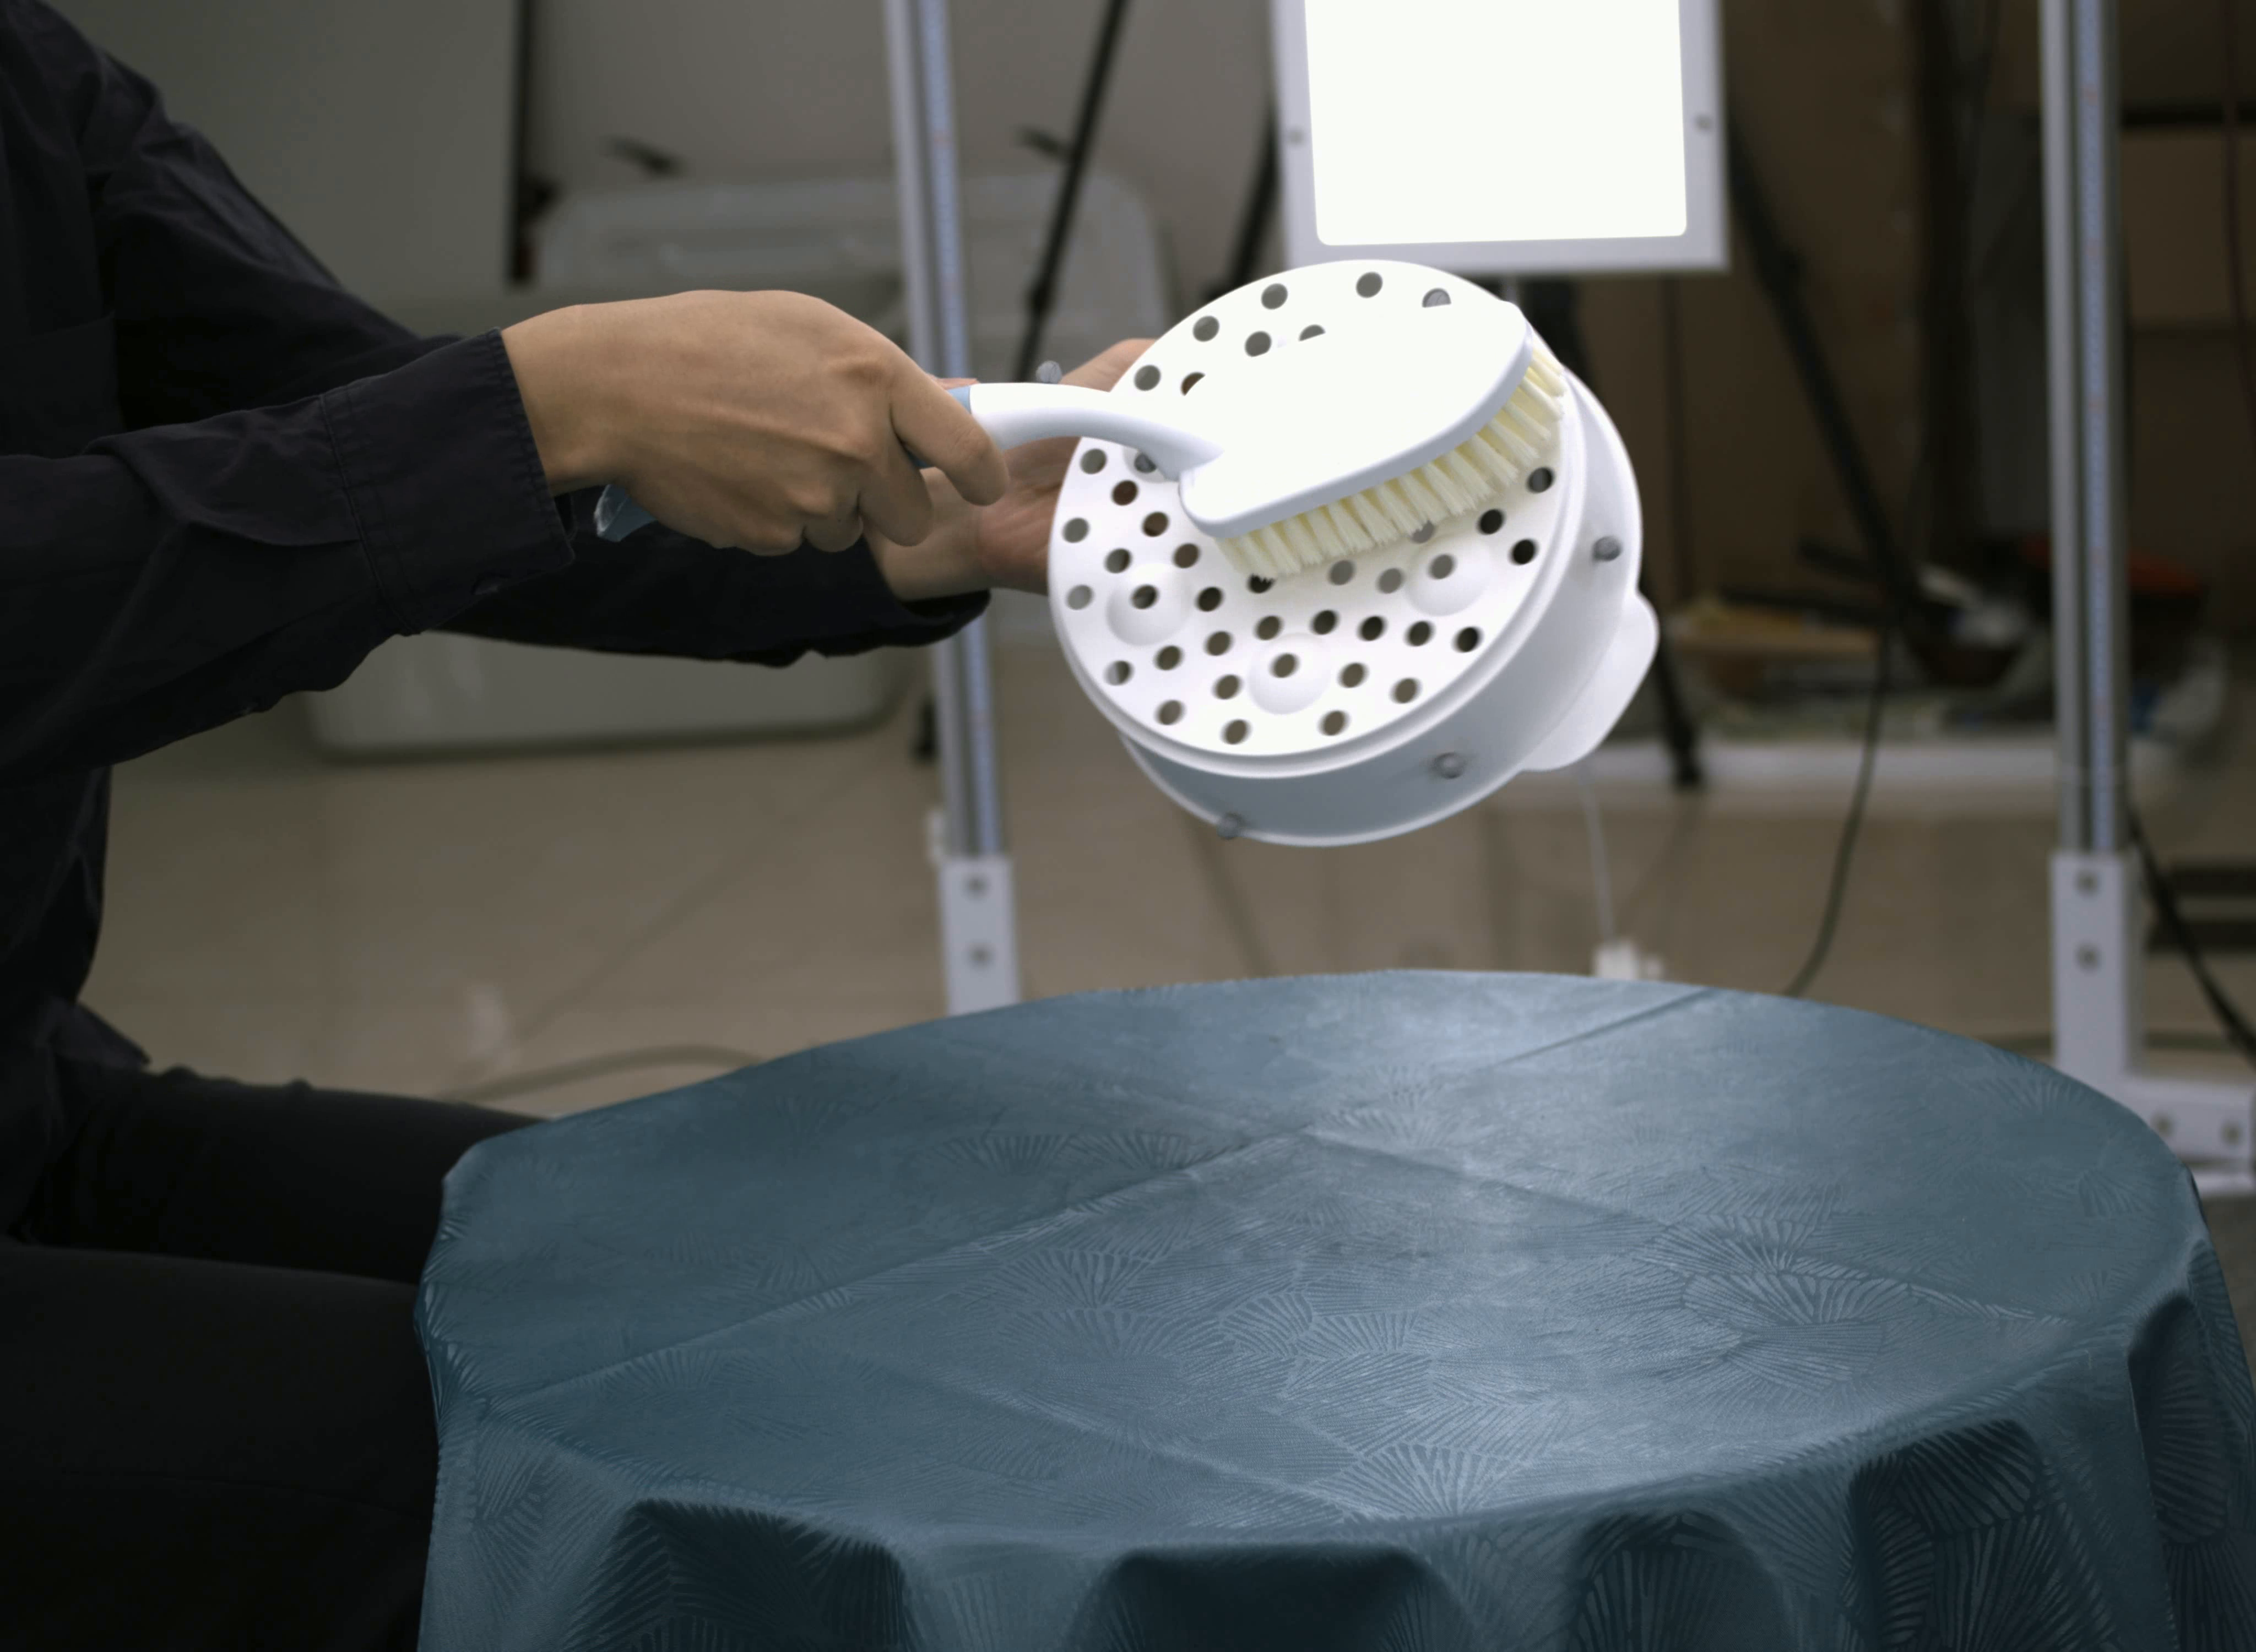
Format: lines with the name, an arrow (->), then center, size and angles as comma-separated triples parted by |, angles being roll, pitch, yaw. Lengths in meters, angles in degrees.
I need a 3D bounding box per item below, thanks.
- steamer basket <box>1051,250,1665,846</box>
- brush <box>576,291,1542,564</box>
steamer basket -> 0.072, -0.096, 1.853 | 0.234, 0.201, 0.068 | 28, -10, 33
brush -> -0.021, -0.121, 1.831 | 0.328, 0.085, 0.082 | -10, 17, 12
